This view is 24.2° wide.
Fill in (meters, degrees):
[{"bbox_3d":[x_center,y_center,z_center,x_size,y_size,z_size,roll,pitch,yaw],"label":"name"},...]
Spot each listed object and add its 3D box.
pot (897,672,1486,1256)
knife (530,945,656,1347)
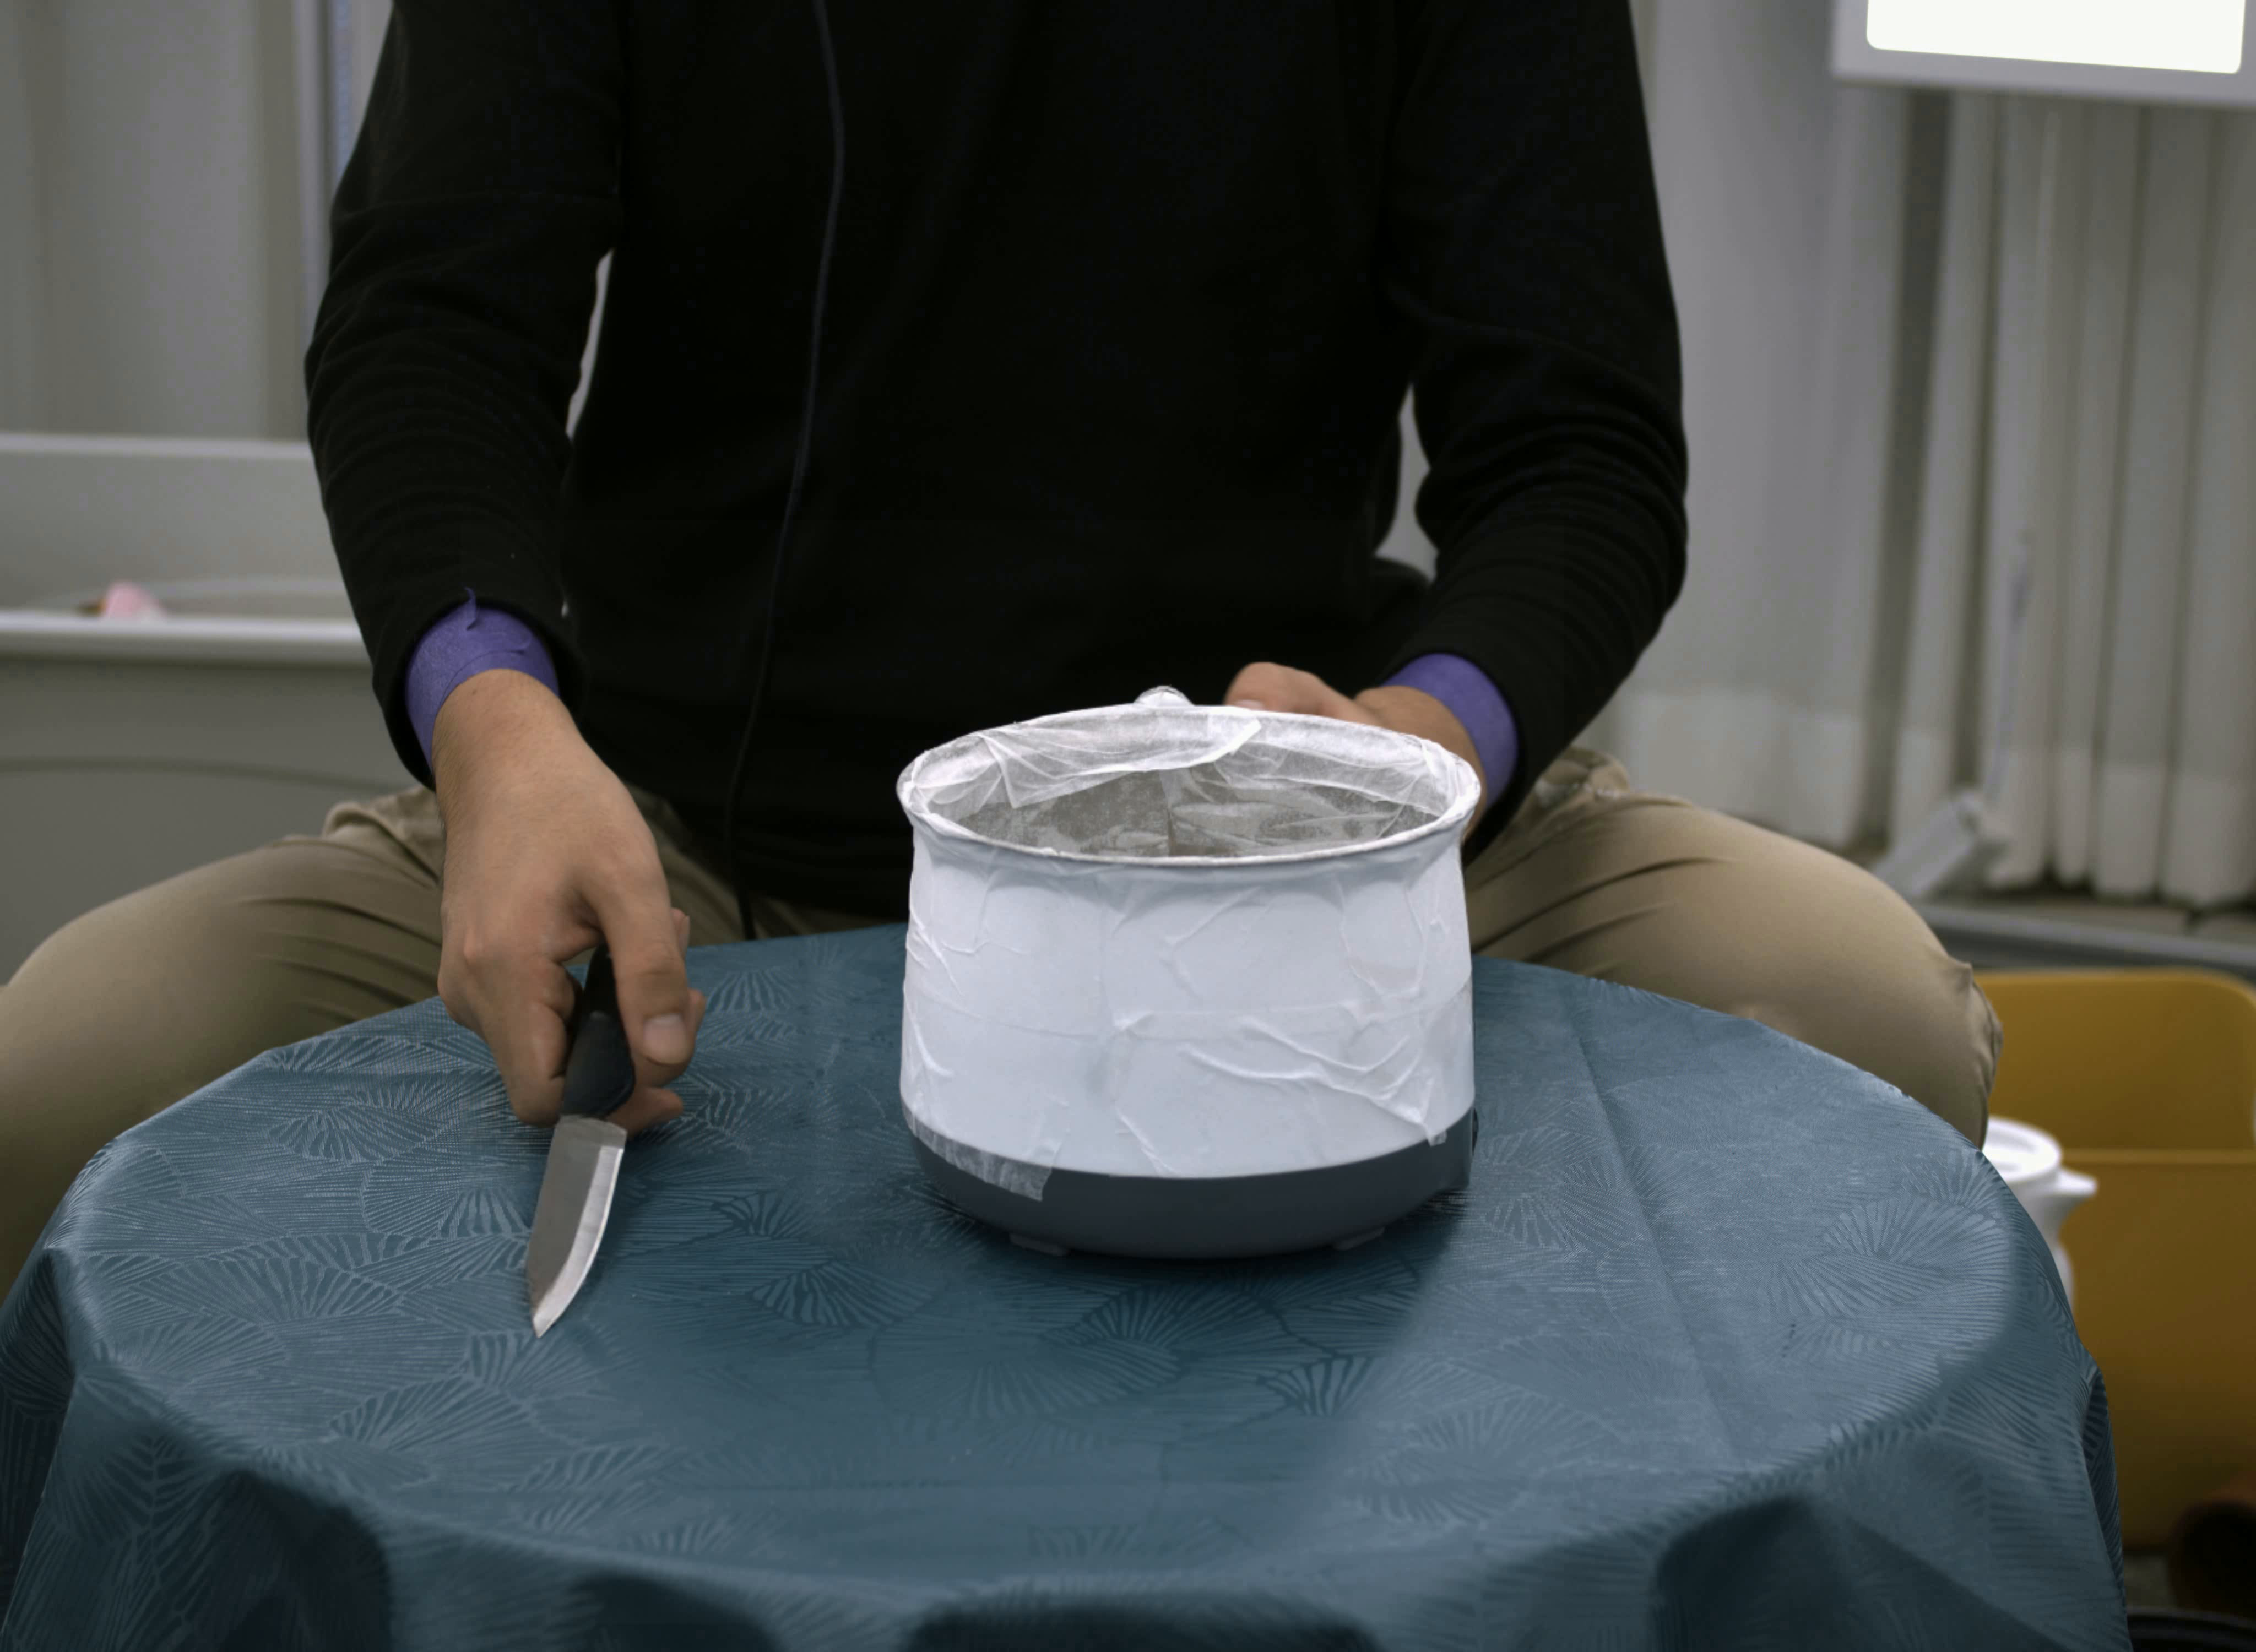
[{"bbox_3d":[0.016,0.037,1.627,0.178,0.138,0.232,0,17,-6],"label":"pot"},{"bbox_3d":[-0.165,0.094,1.603,0.024,0.016,0.236,19,25,-8],"label":"knife"}]
